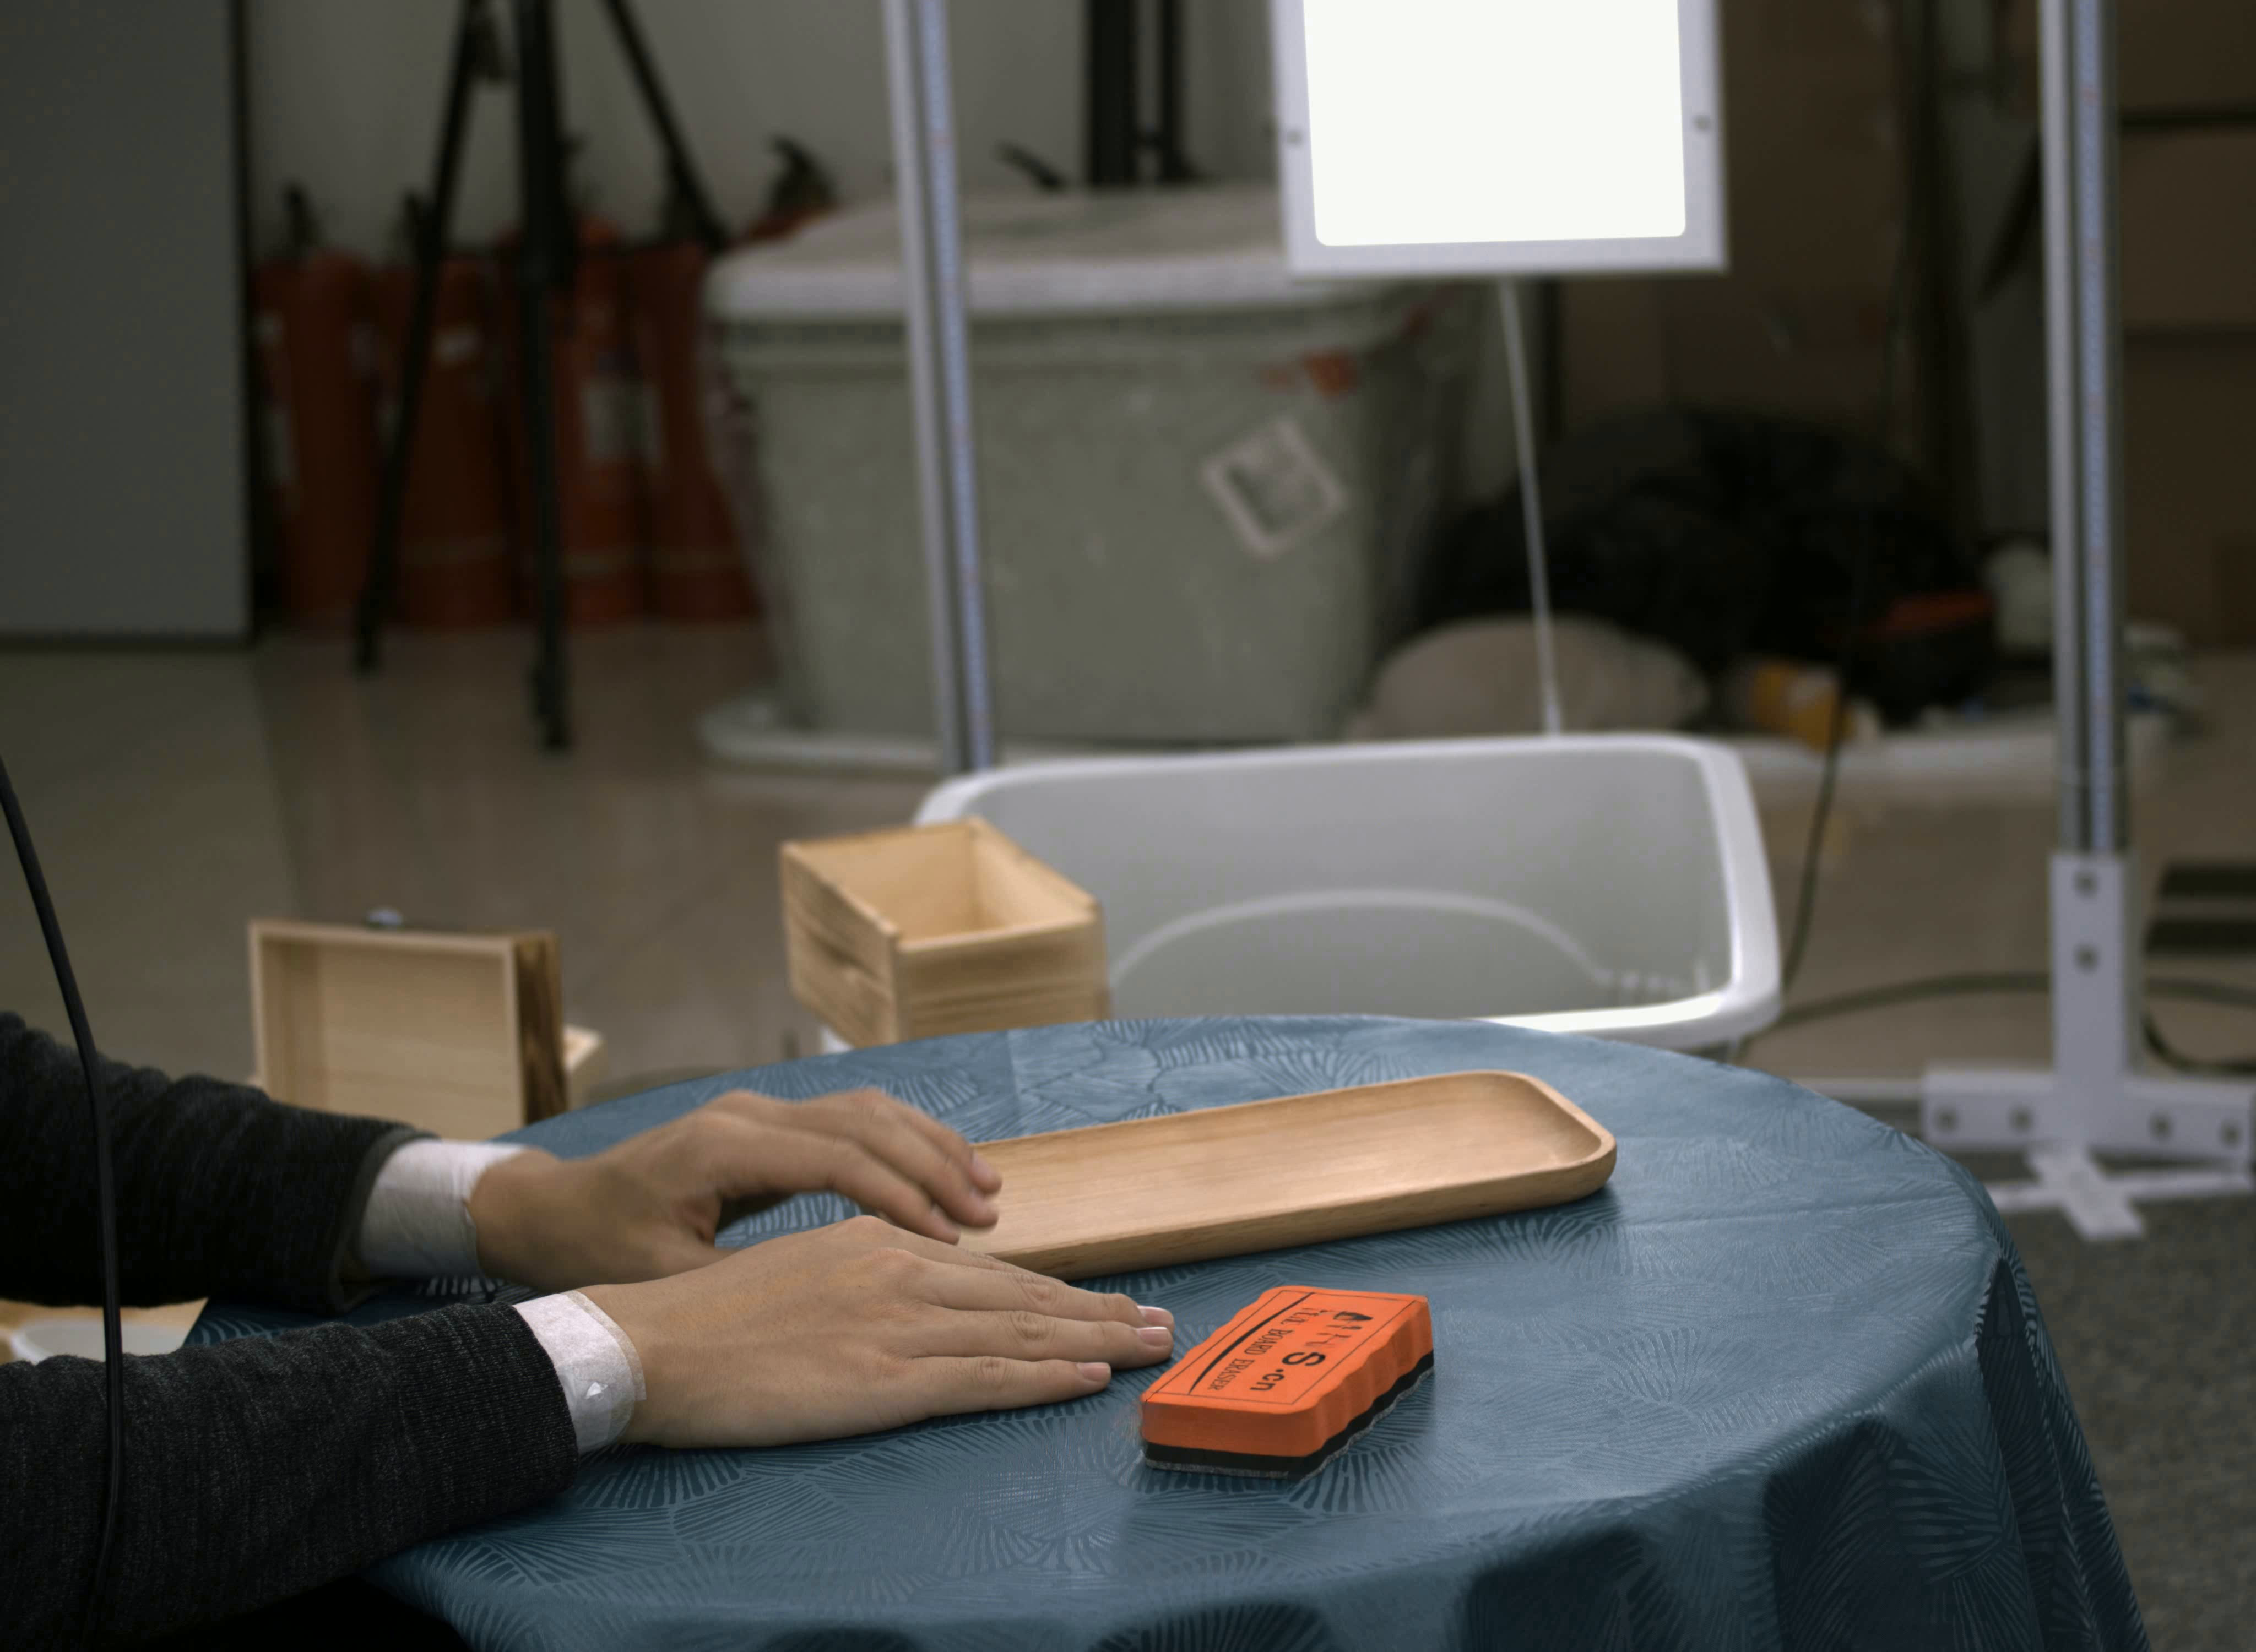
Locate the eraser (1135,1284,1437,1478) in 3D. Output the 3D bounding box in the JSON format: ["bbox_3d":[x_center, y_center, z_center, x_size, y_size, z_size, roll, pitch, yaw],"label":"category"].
[{"bbox_3d":[0.049,0.167,1.664,0.060,0.023,0.106,2,15,28],"label":"eraser"}]

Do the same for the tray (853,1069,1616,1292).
[{"bbox_3d":[0.036,0.120,1.876,0.248,0.023,0.131,-8,12,-10],"label":"tray"}]
